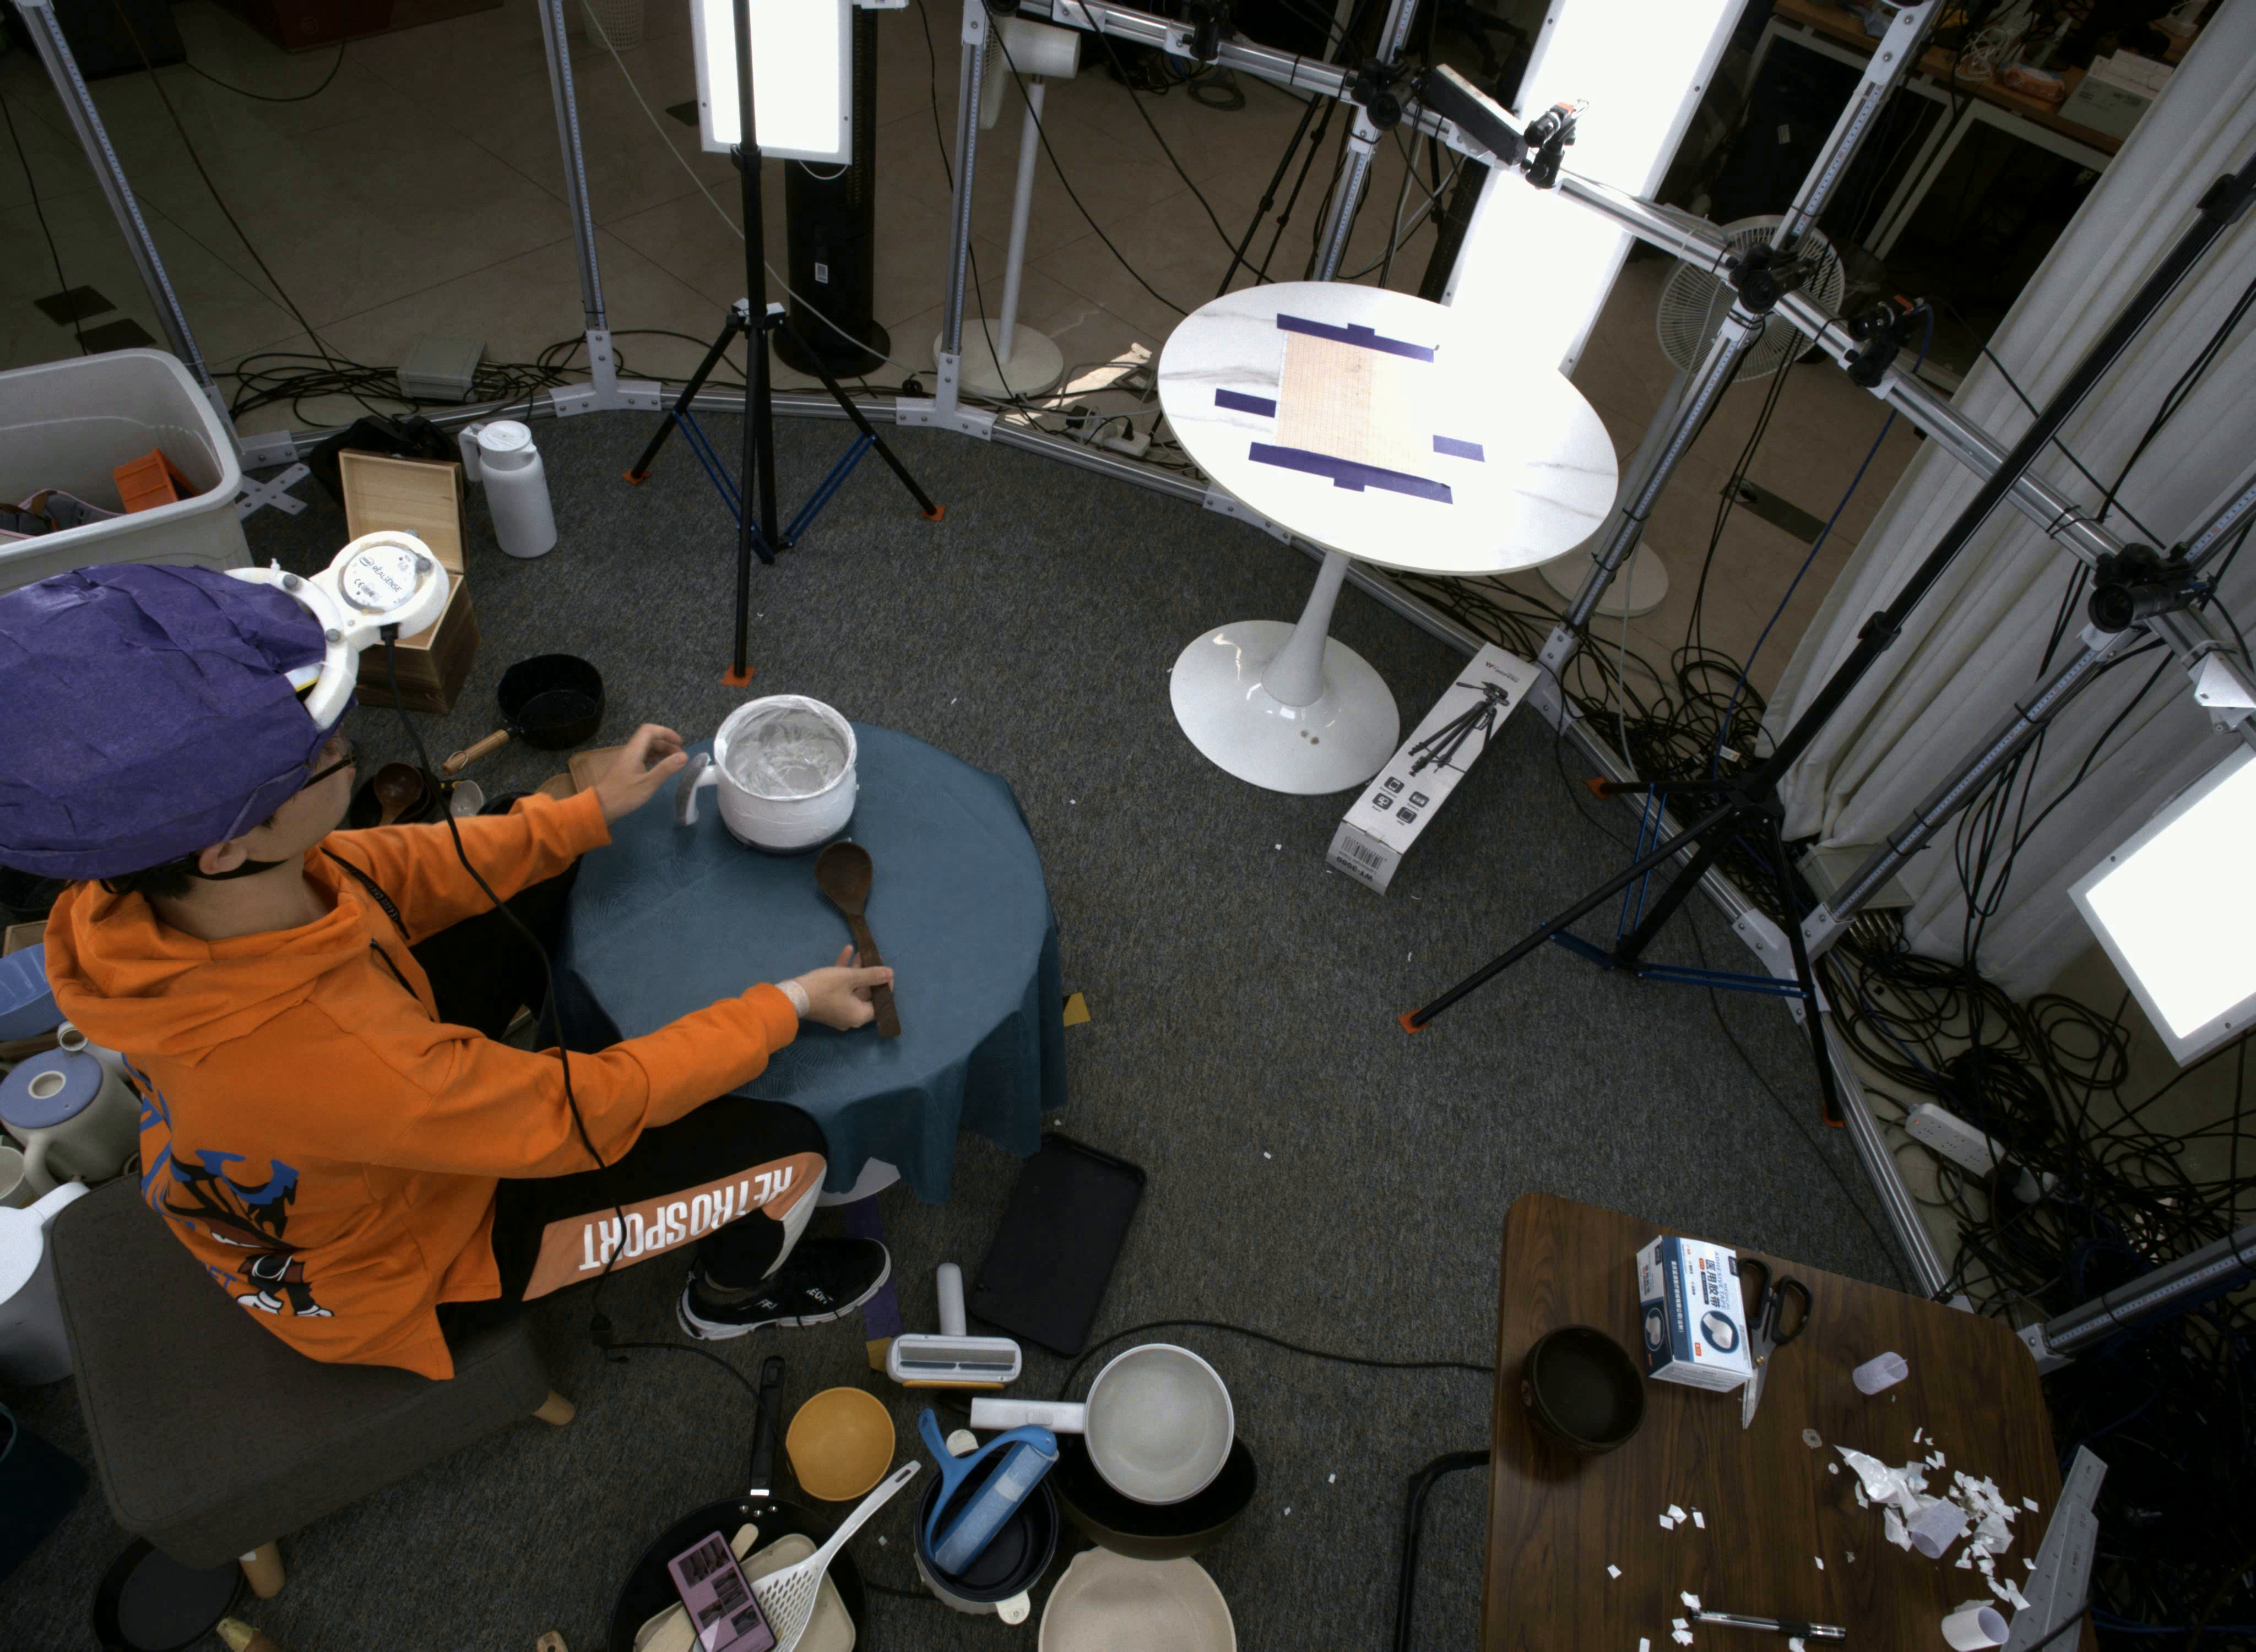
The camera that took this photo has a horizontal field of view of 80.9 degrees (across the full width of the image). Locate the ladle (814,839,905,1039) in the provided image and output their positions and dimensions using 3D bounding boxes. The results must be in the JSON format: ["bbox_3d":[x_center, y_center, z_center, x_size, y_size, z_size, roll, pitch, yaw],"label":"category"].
[{"bbox_3d":[-0.321,0.129,1.588,0.076,0.073,0.266,-12,50,-20],"label":"ladle"}]

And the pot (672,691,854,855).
[{"bbox_3d":[-0.468,-0.059,1.657,0.235,0.139,0.174,-12,56,-22],"label":"pot"}]
